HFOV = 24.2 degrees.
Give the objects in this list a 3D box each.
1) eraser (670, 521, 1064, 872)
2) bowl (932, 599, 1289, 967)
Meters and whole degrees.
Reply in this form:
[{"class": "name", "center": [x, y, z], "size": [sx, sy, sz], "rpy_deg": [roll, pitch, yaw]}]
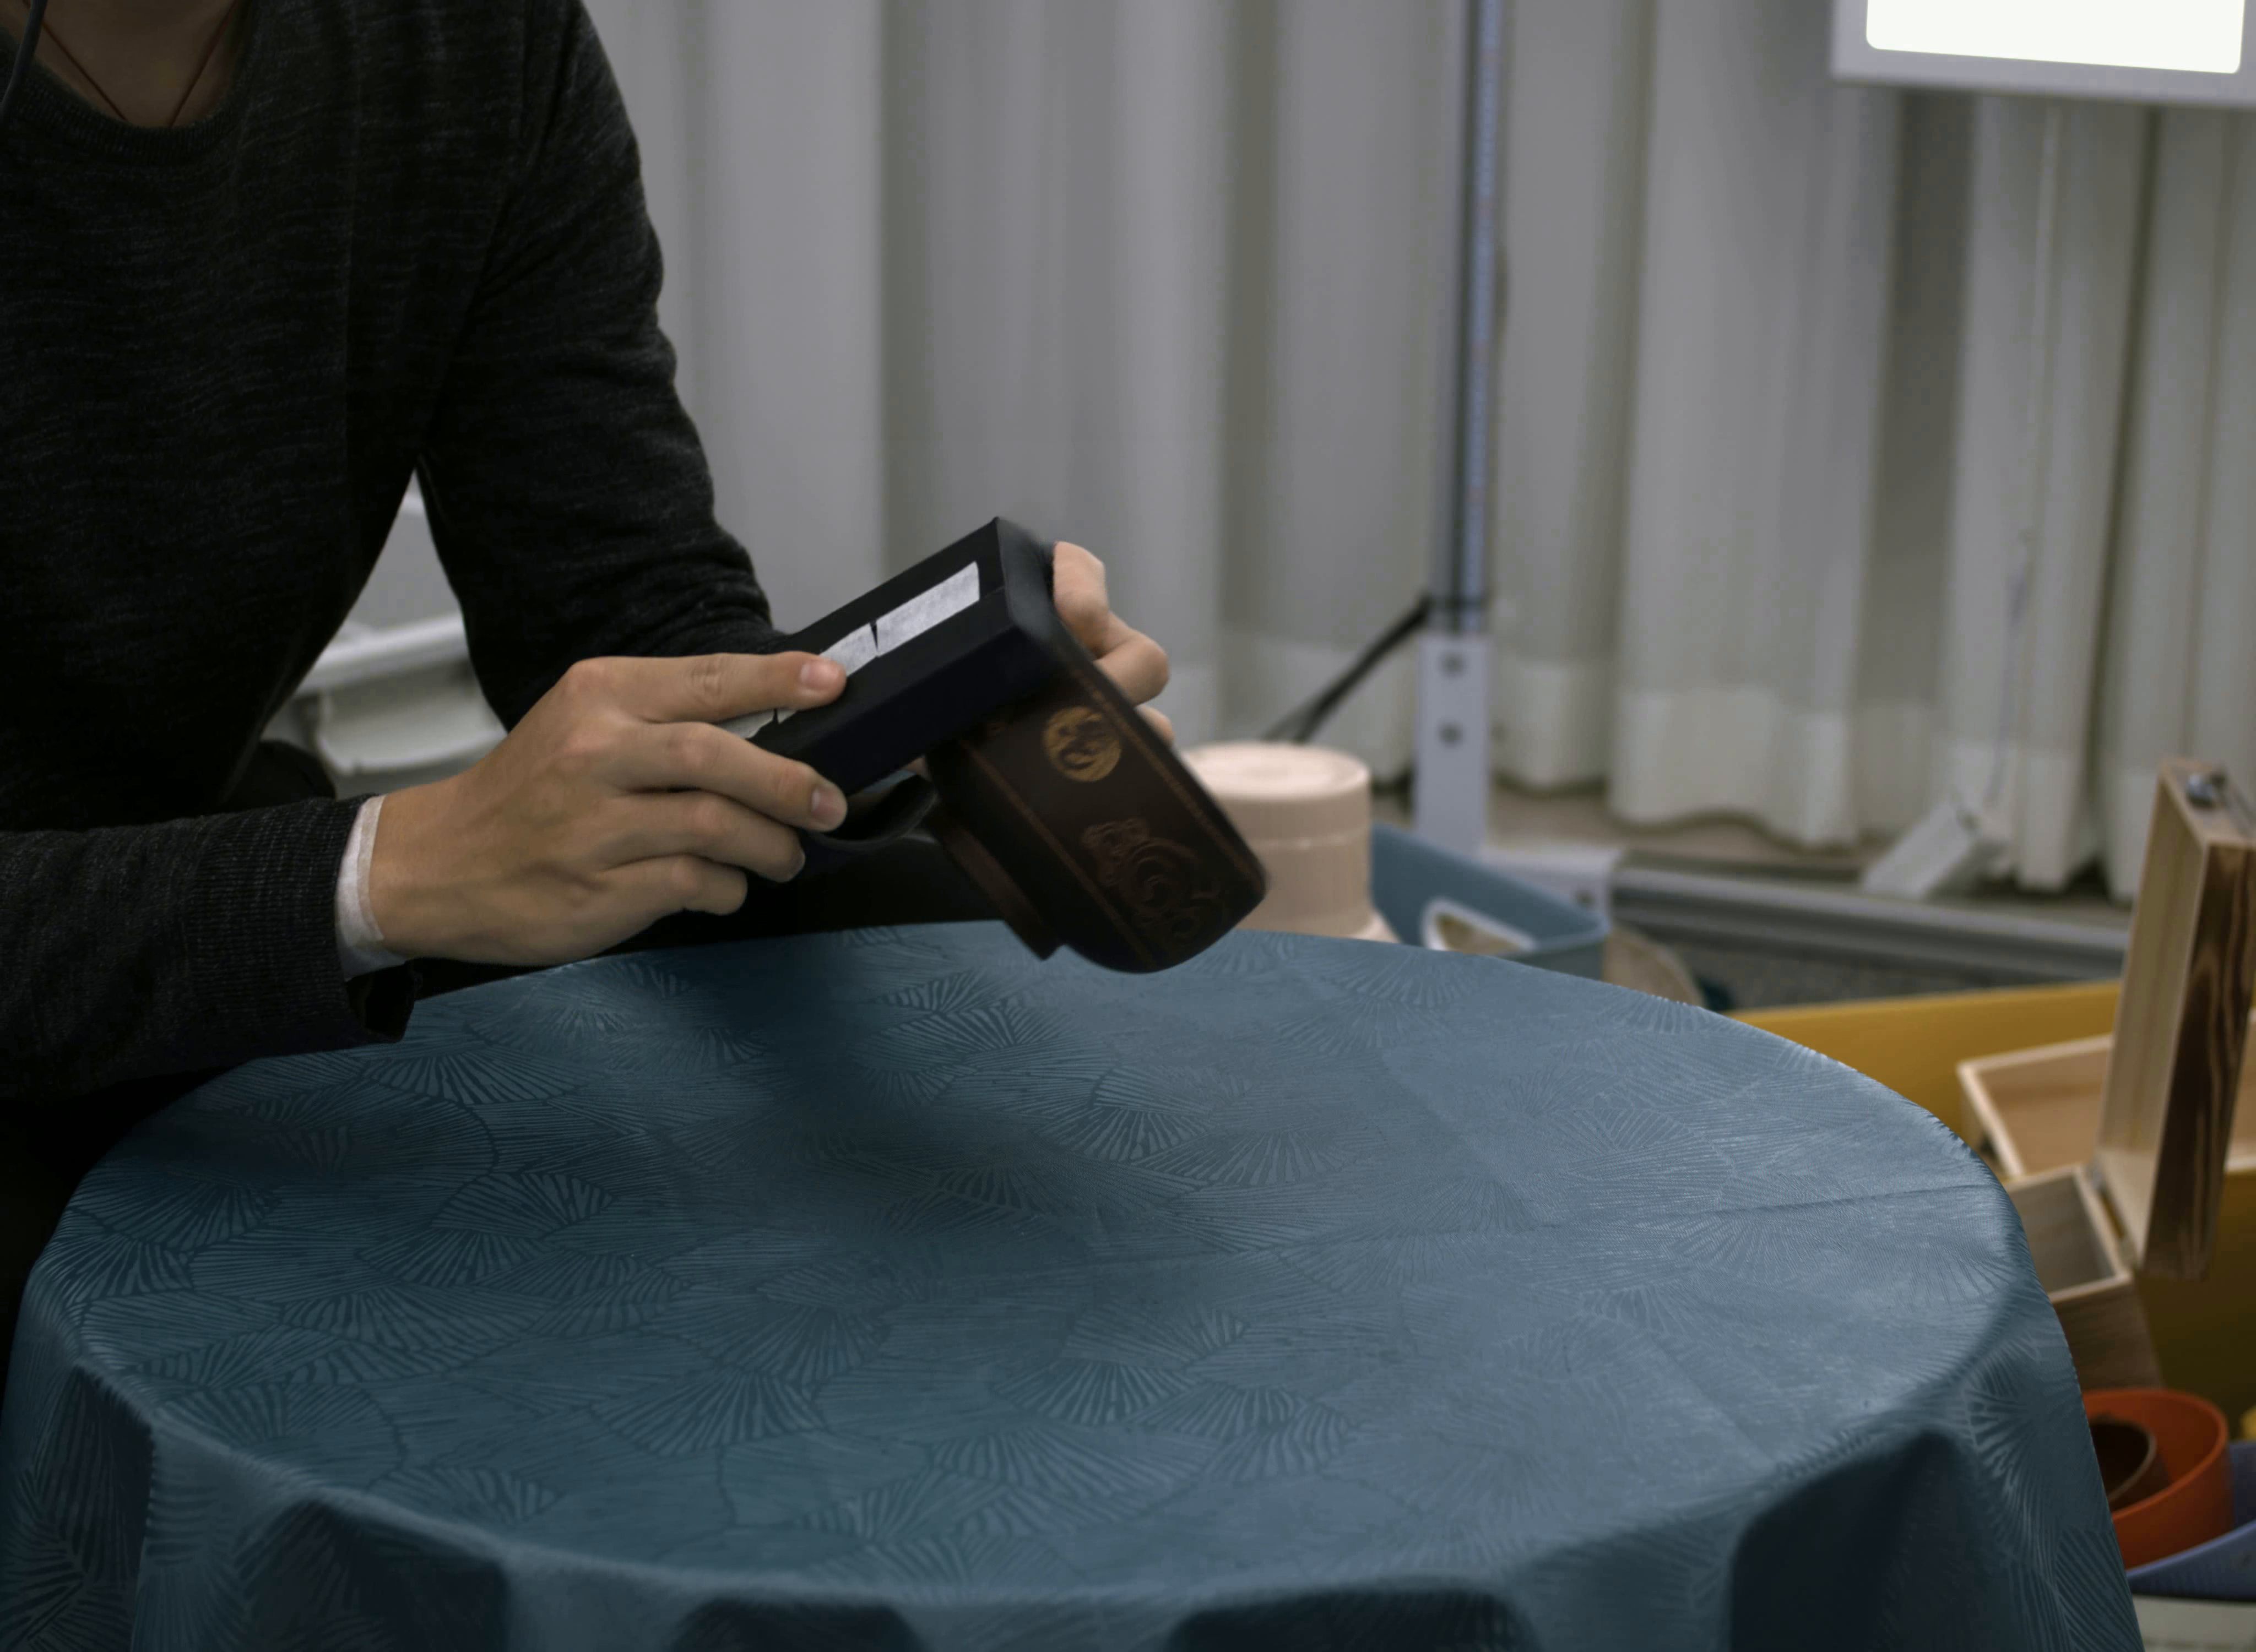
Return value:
[{"class": "eraser", "center": [-0.077, -0.039, 1.551], "size": [0.125, 0.031, 0.053], "rpy_deg": [-31, 38, 15]}, {"class": "bowl", "center": [-0.015, -0.005, 1.581], "size": [0.070, 0.119, 0.117], "rpy_deg": [-43, 24, -2]}]
